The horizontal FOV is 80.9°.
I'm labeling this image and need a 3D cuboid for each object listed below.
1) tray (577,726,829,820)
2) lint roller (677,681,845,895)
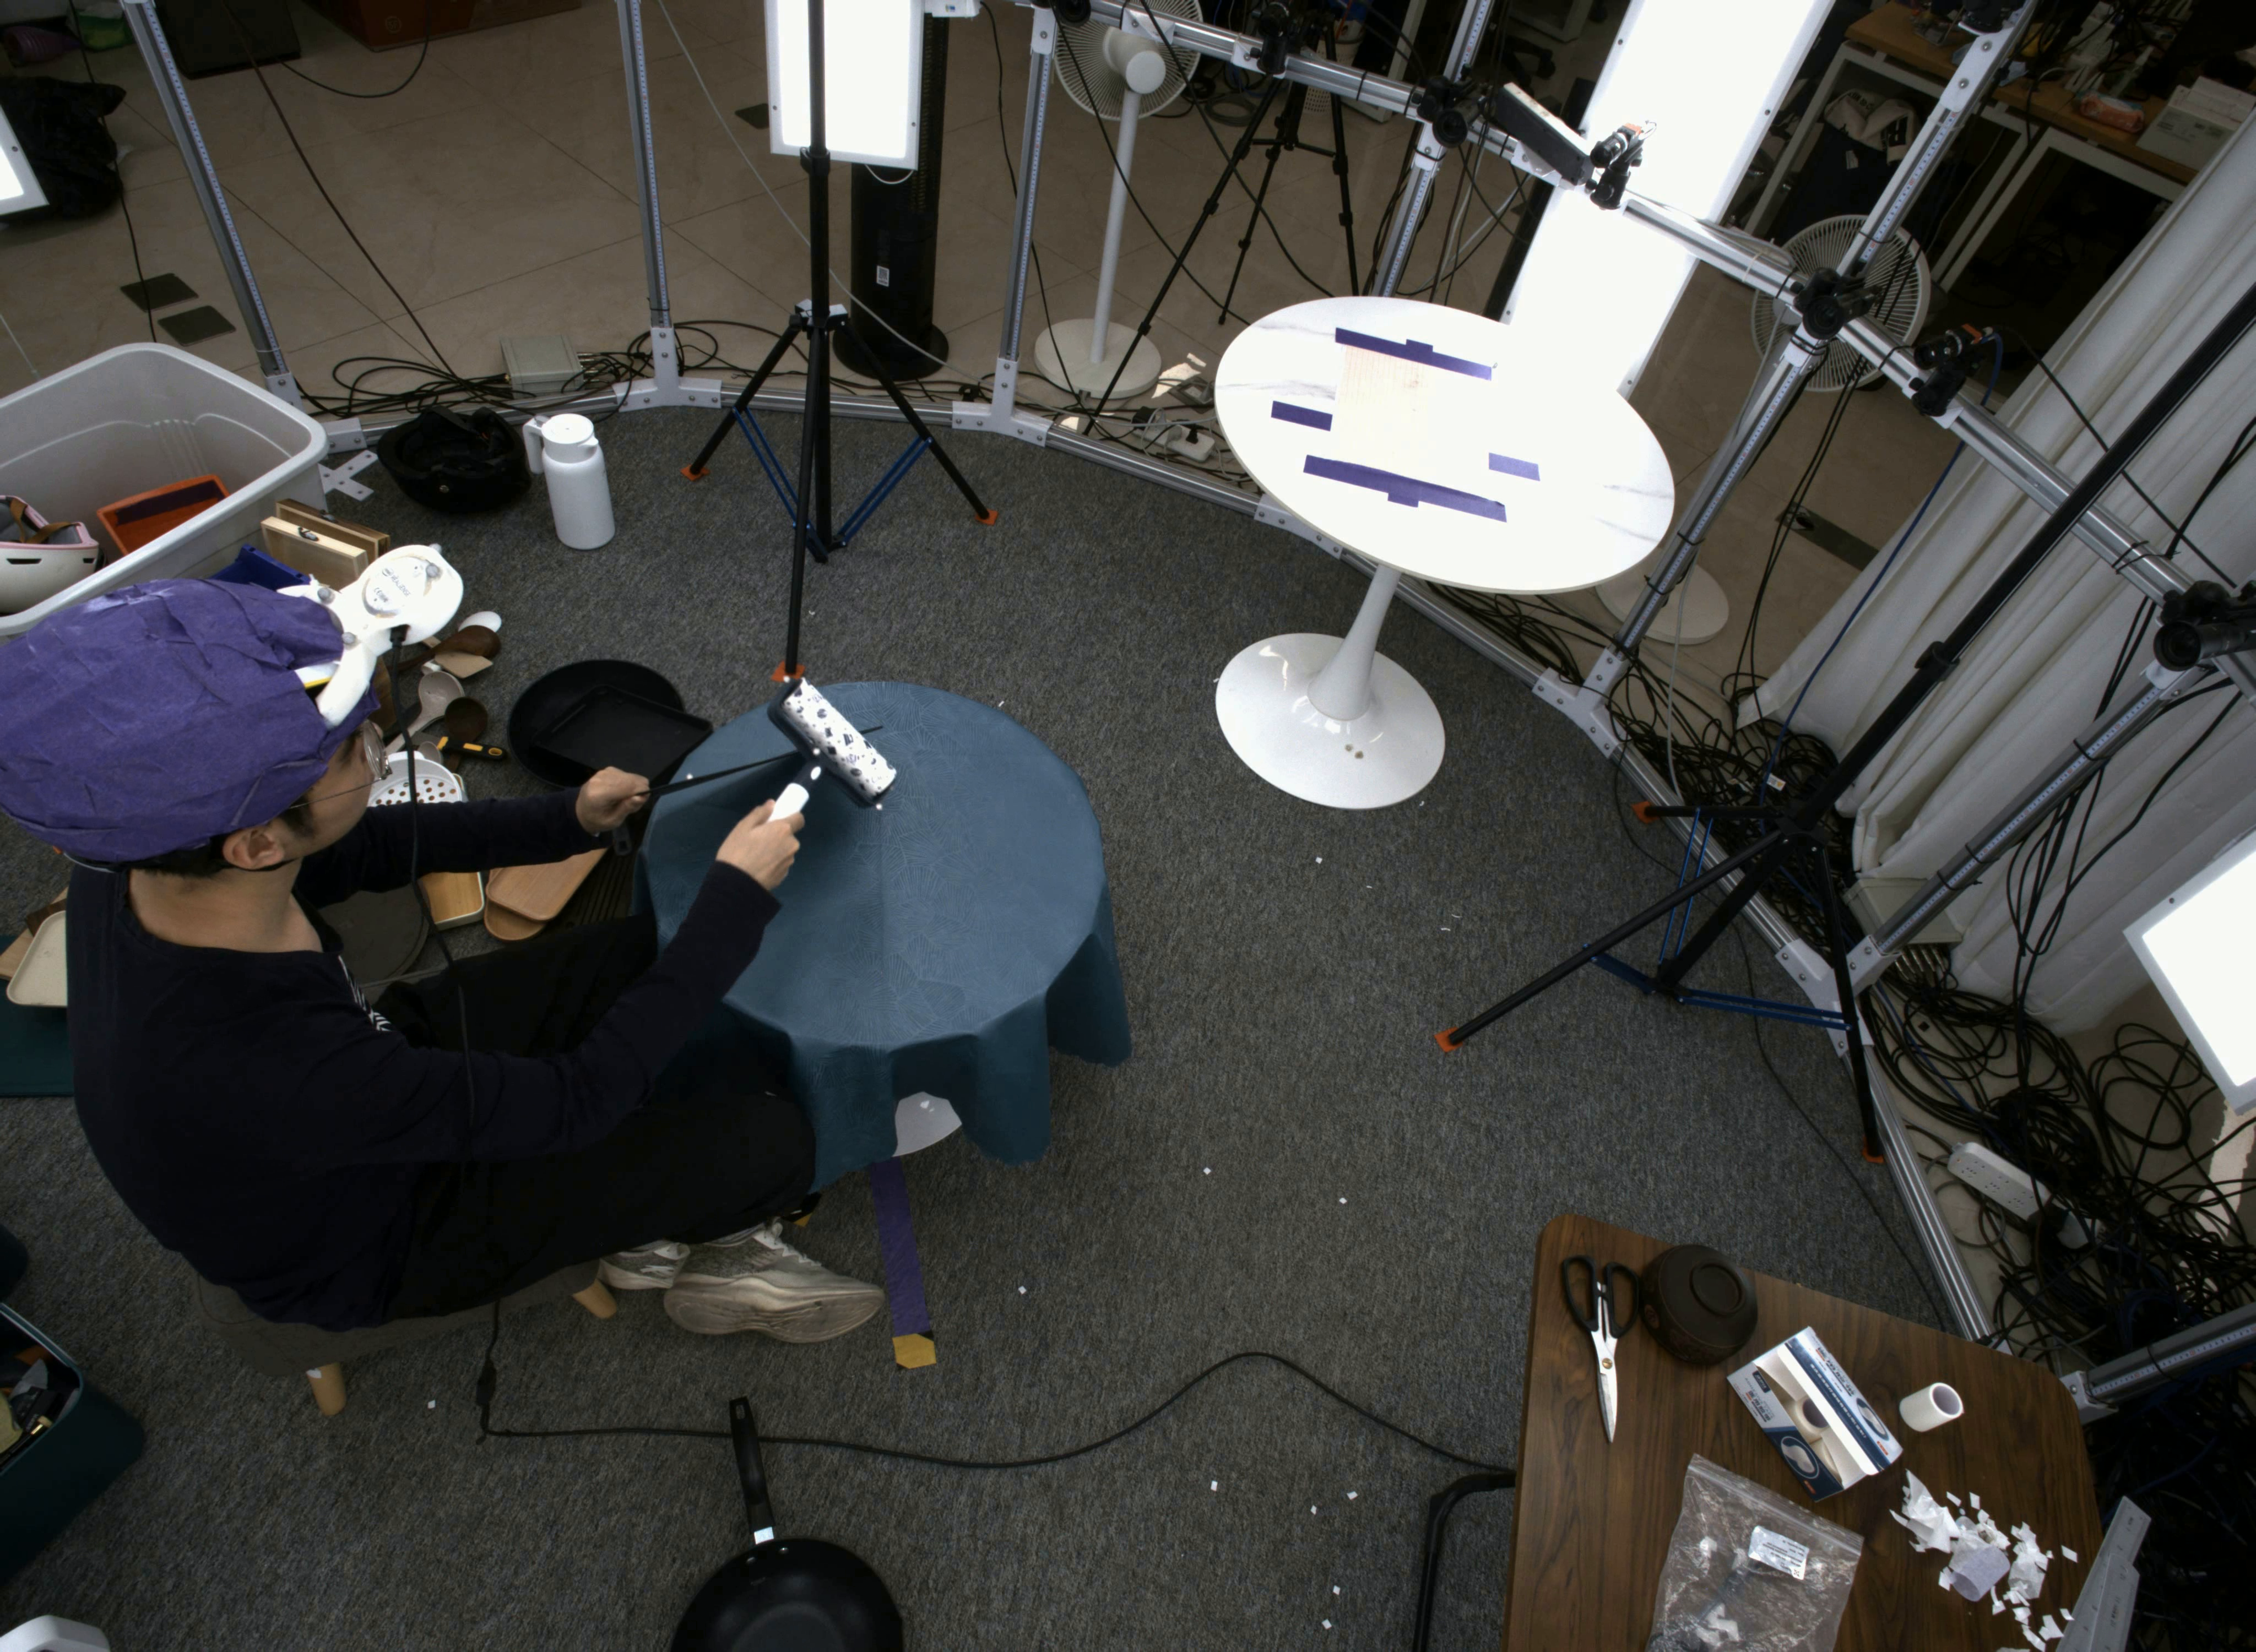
[{"bbox_3d":[-0.544,-0.069,1.626,0.328,0.205,0.010,-24,98,-37],"label":"tray"},{"bbox_3d":[-0.437,-0.024,1.469,0.182,0.049,0.245,47,47,-30],"label":"lint roller"}]
